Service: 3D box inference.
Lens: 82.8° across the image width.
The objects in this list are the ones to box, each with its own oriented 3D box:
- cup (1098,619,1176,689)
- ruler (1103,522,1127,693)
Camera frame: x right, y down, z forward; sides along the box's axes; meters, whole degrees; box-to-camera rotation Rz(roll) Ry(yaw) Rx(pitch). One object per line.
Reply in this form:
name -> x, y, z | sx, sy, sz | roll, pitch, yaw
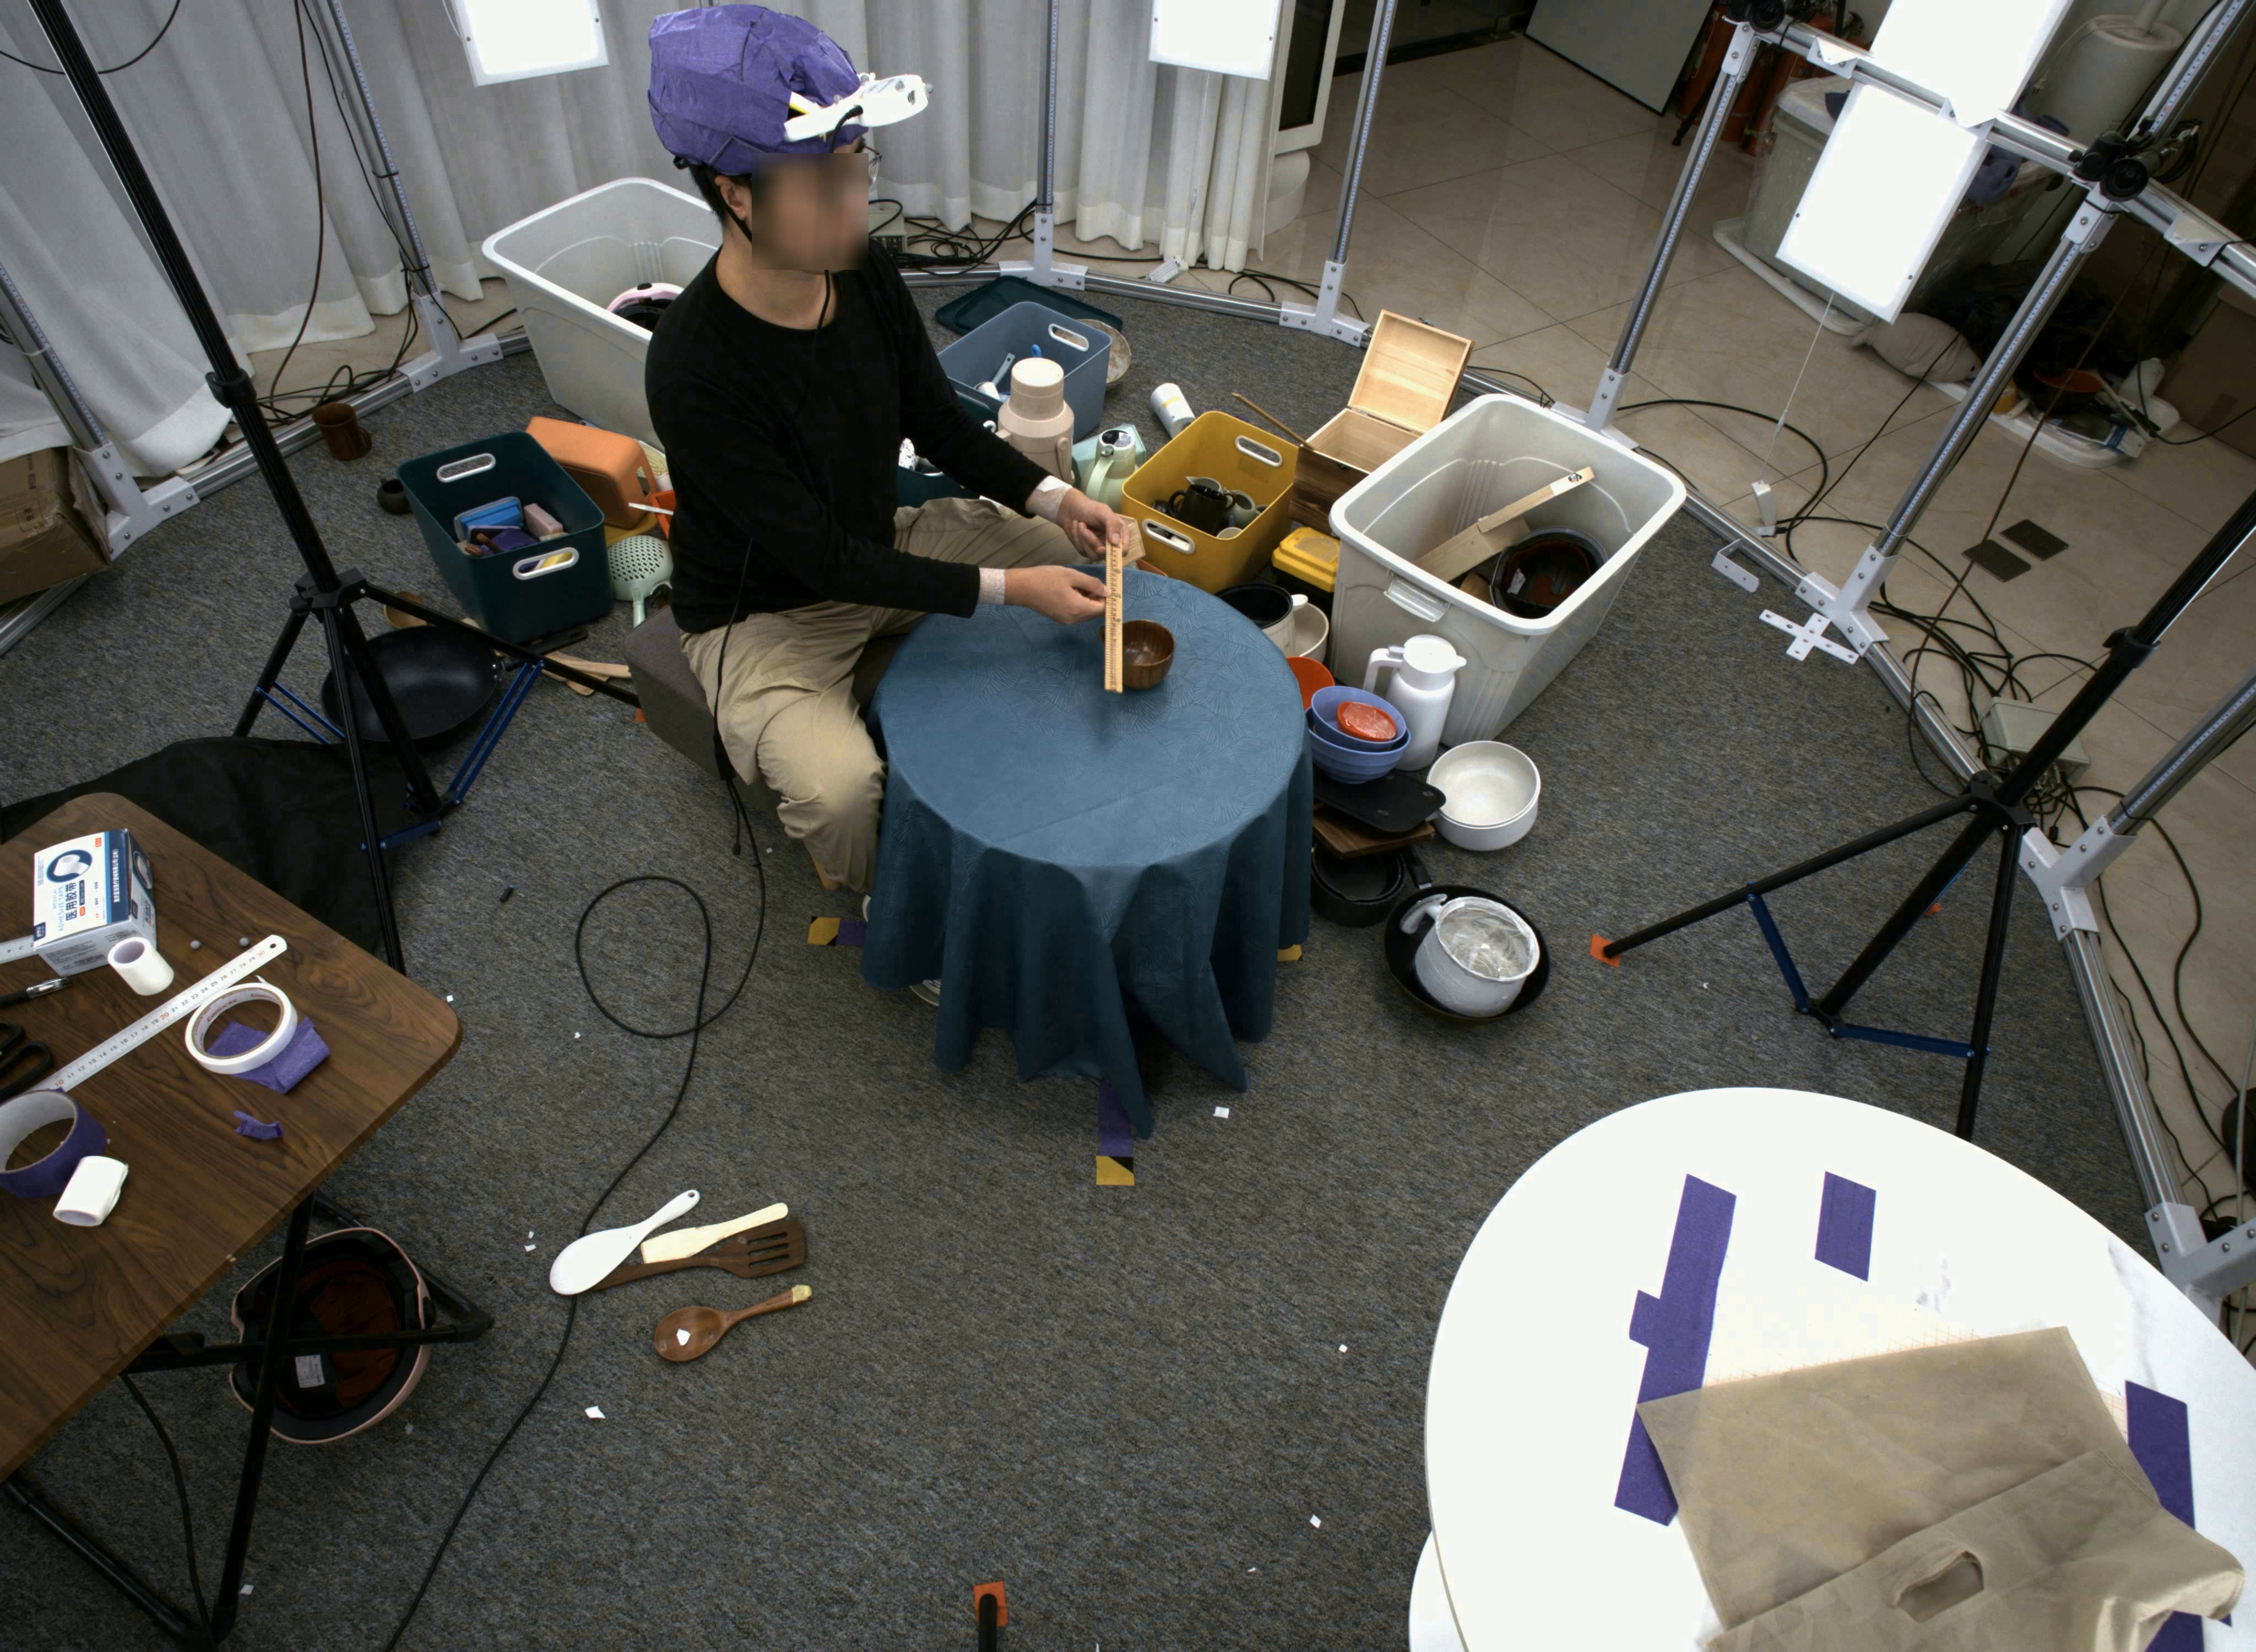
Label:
cup -> 0.009, -0.246, 1.842 | 0.121, 0.066, 0.097 | 28, 55, 21
ruler -> -0.018, -0.323, 1.847 | 0.027, 0.022, 0.340 | 16, 51, -18
